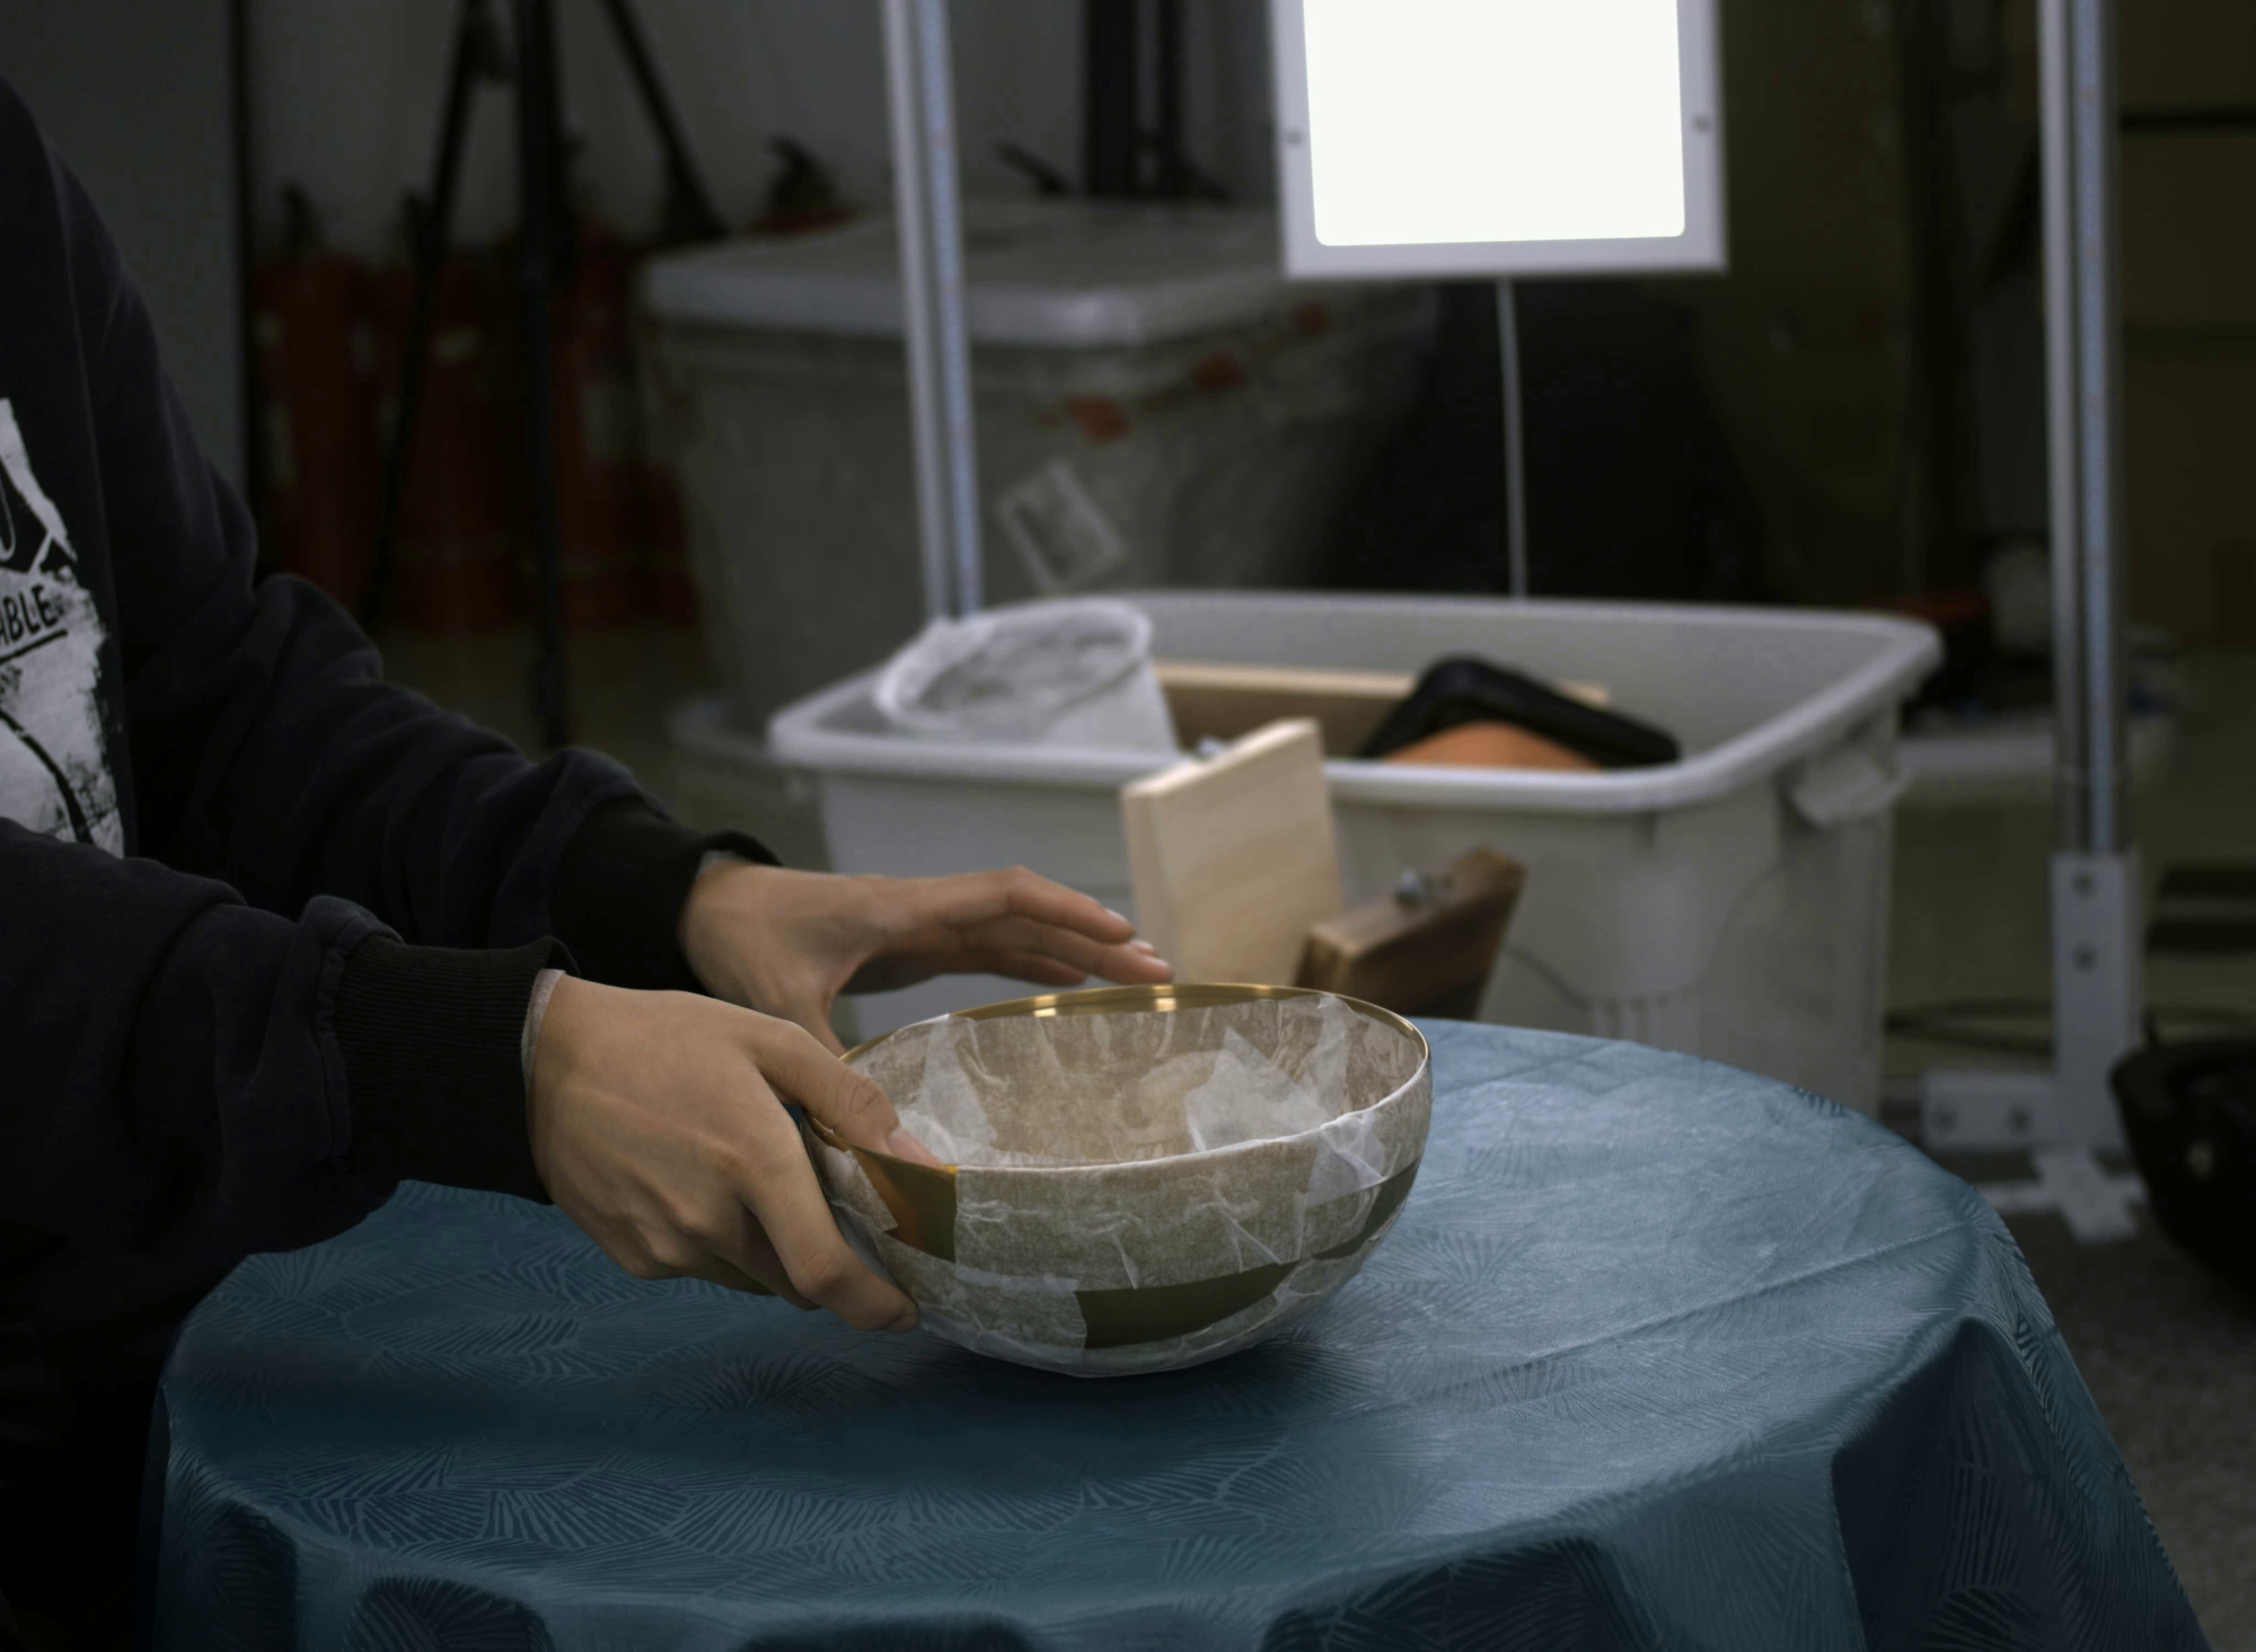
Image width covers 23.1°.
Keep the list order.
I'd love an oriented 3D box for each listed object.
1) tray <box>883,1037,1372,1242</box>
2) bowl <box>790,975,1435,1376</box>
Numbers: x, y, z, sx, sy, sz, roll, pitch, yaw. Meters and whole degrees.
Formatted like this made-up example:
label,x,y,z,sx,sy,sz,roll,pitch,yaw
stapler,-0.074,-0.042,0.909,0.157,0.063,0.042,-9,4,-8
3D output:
label,x,y,z,sx,sy,sz,roll,pitch,yaw
tray,-0.002,0.109,1.938,0.099,0.020,0.235,-16,19,-29
bowl,0.000,0.117,1.740,0.214,0.095,0.214,-6,14,0
